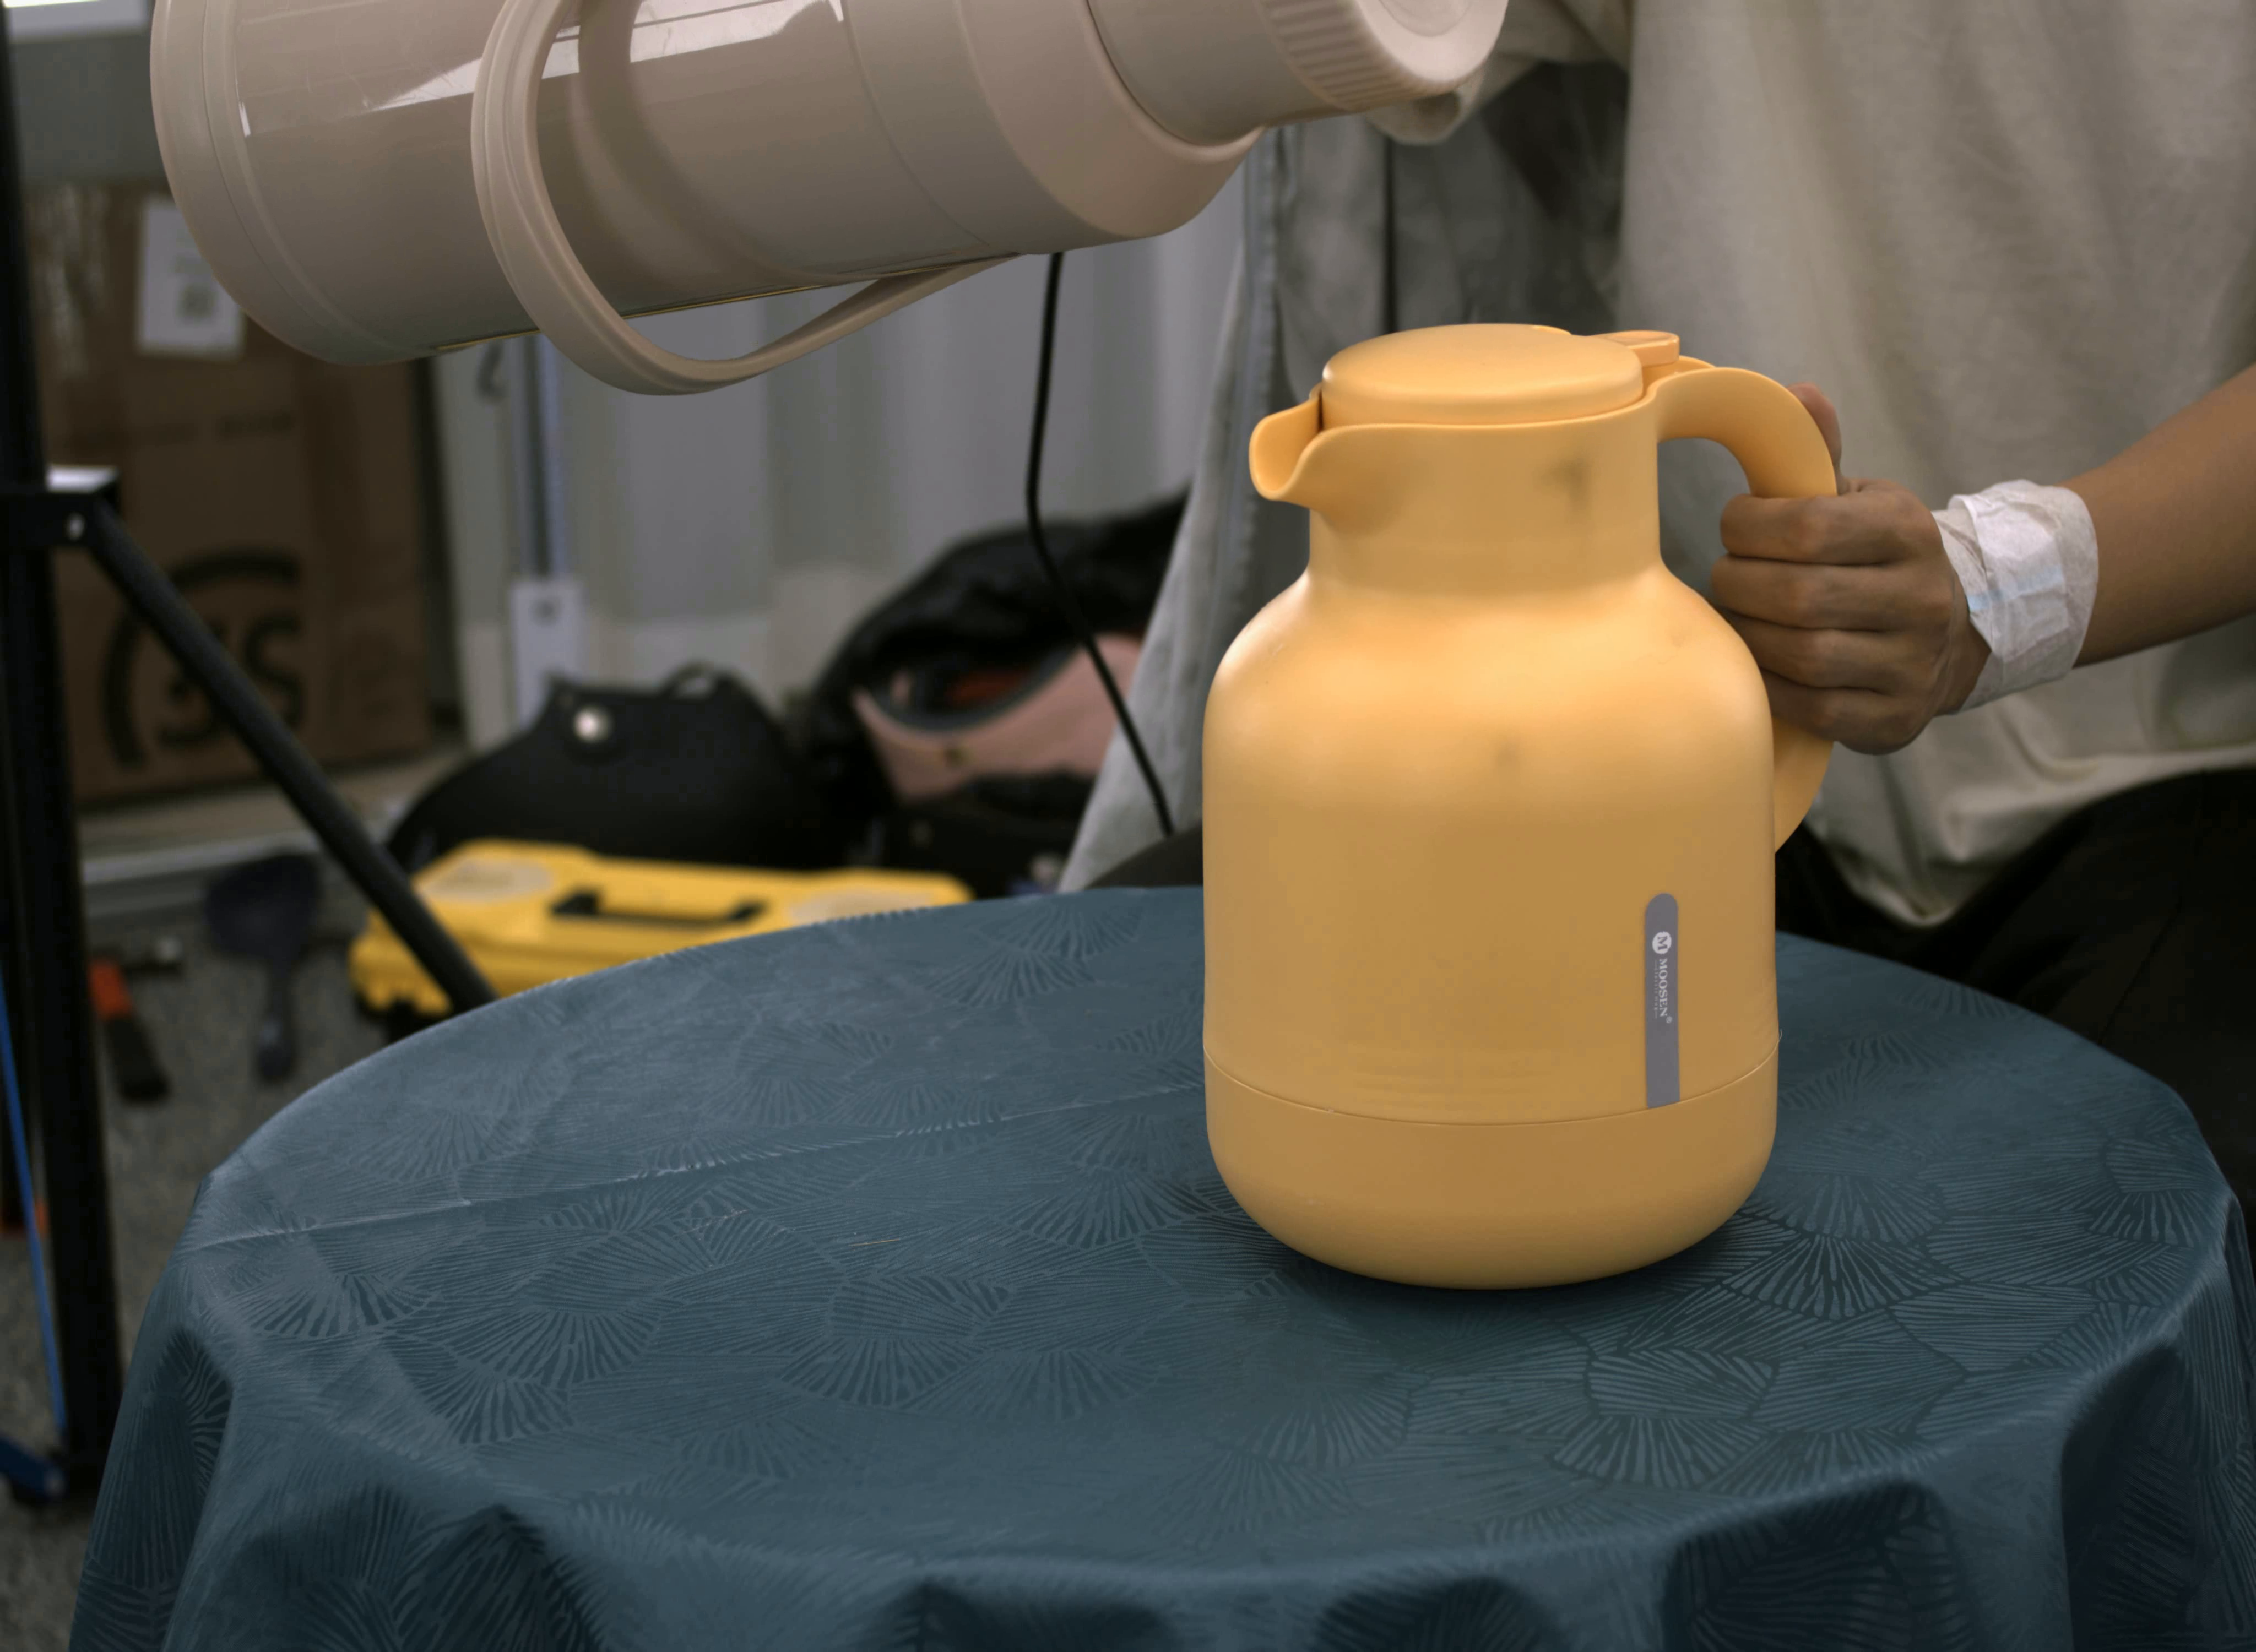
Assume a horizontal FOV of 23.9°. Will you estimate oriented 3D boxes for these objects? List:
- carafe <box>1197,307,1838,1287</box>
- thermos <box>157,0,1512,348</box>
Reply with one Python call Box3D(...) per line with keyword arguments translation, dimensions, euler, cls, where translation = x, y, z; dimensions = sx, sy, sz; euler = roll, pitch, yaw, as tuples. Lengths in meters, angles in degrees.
Box3D(translation=(0.117, -0.015, 1.492), dimensions=(0.198, 0.260, 0.167), euler=(-12, 20, -29), cls="carafe")
Box3D(translation=(-0.080, -0.250, 1.564), dimensions=(0.414, 0.172, 0.207), euler=(-5, 48, 36), cls="thermos")
